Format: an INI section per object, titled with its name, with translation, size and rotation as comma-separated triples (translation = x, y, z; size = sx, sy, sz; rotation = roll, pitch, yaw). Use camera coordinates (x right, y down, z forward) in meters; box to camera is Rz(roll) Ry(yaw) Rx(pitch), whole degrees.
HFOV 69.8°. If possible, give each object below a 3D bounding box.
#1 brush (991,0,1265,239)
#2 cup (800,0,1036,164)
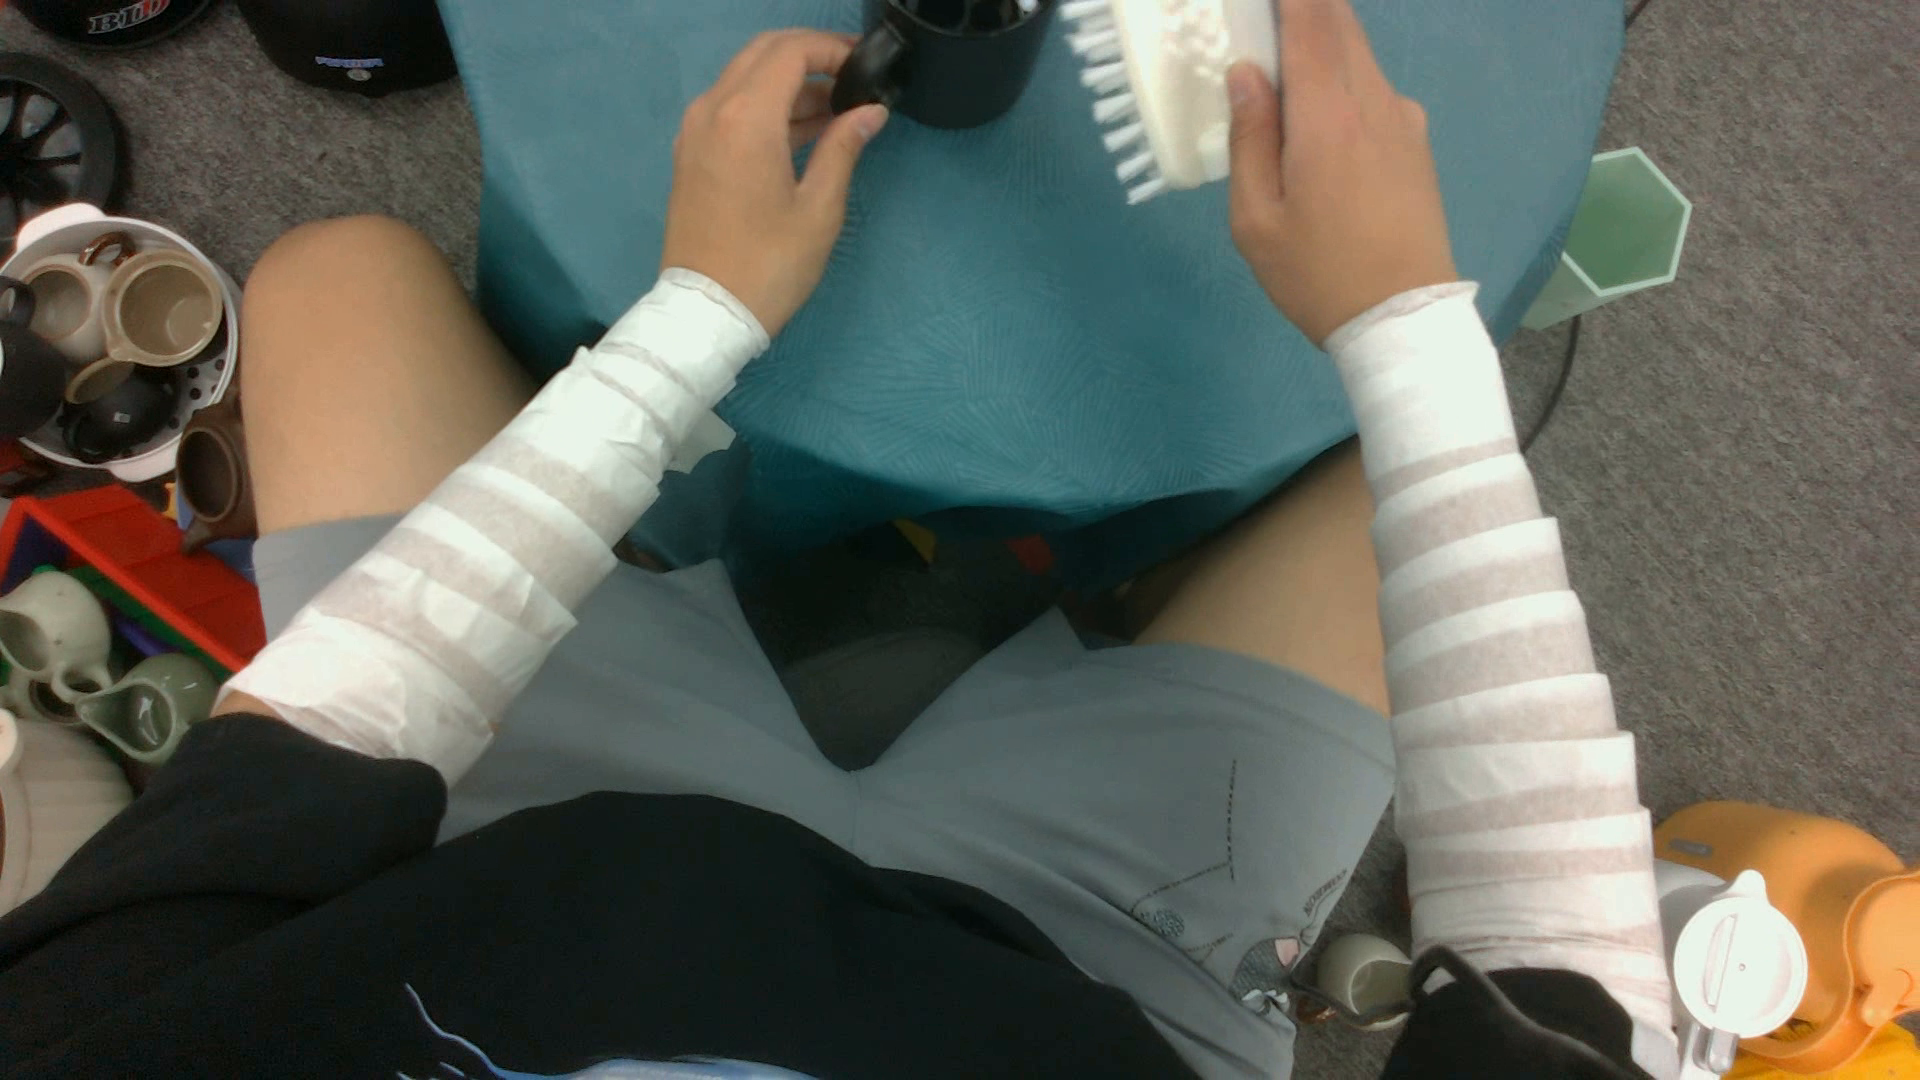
[brush]
translation = 0.066, -0.217, 0.571
size = 0.062, 0.094, 0.175
rotation = -45, 115, -34
[cup]
translation = -0.028, -0.225, 0.645
size = 0.088, 0.105, 0.124
rotation = 43, 84, -4
